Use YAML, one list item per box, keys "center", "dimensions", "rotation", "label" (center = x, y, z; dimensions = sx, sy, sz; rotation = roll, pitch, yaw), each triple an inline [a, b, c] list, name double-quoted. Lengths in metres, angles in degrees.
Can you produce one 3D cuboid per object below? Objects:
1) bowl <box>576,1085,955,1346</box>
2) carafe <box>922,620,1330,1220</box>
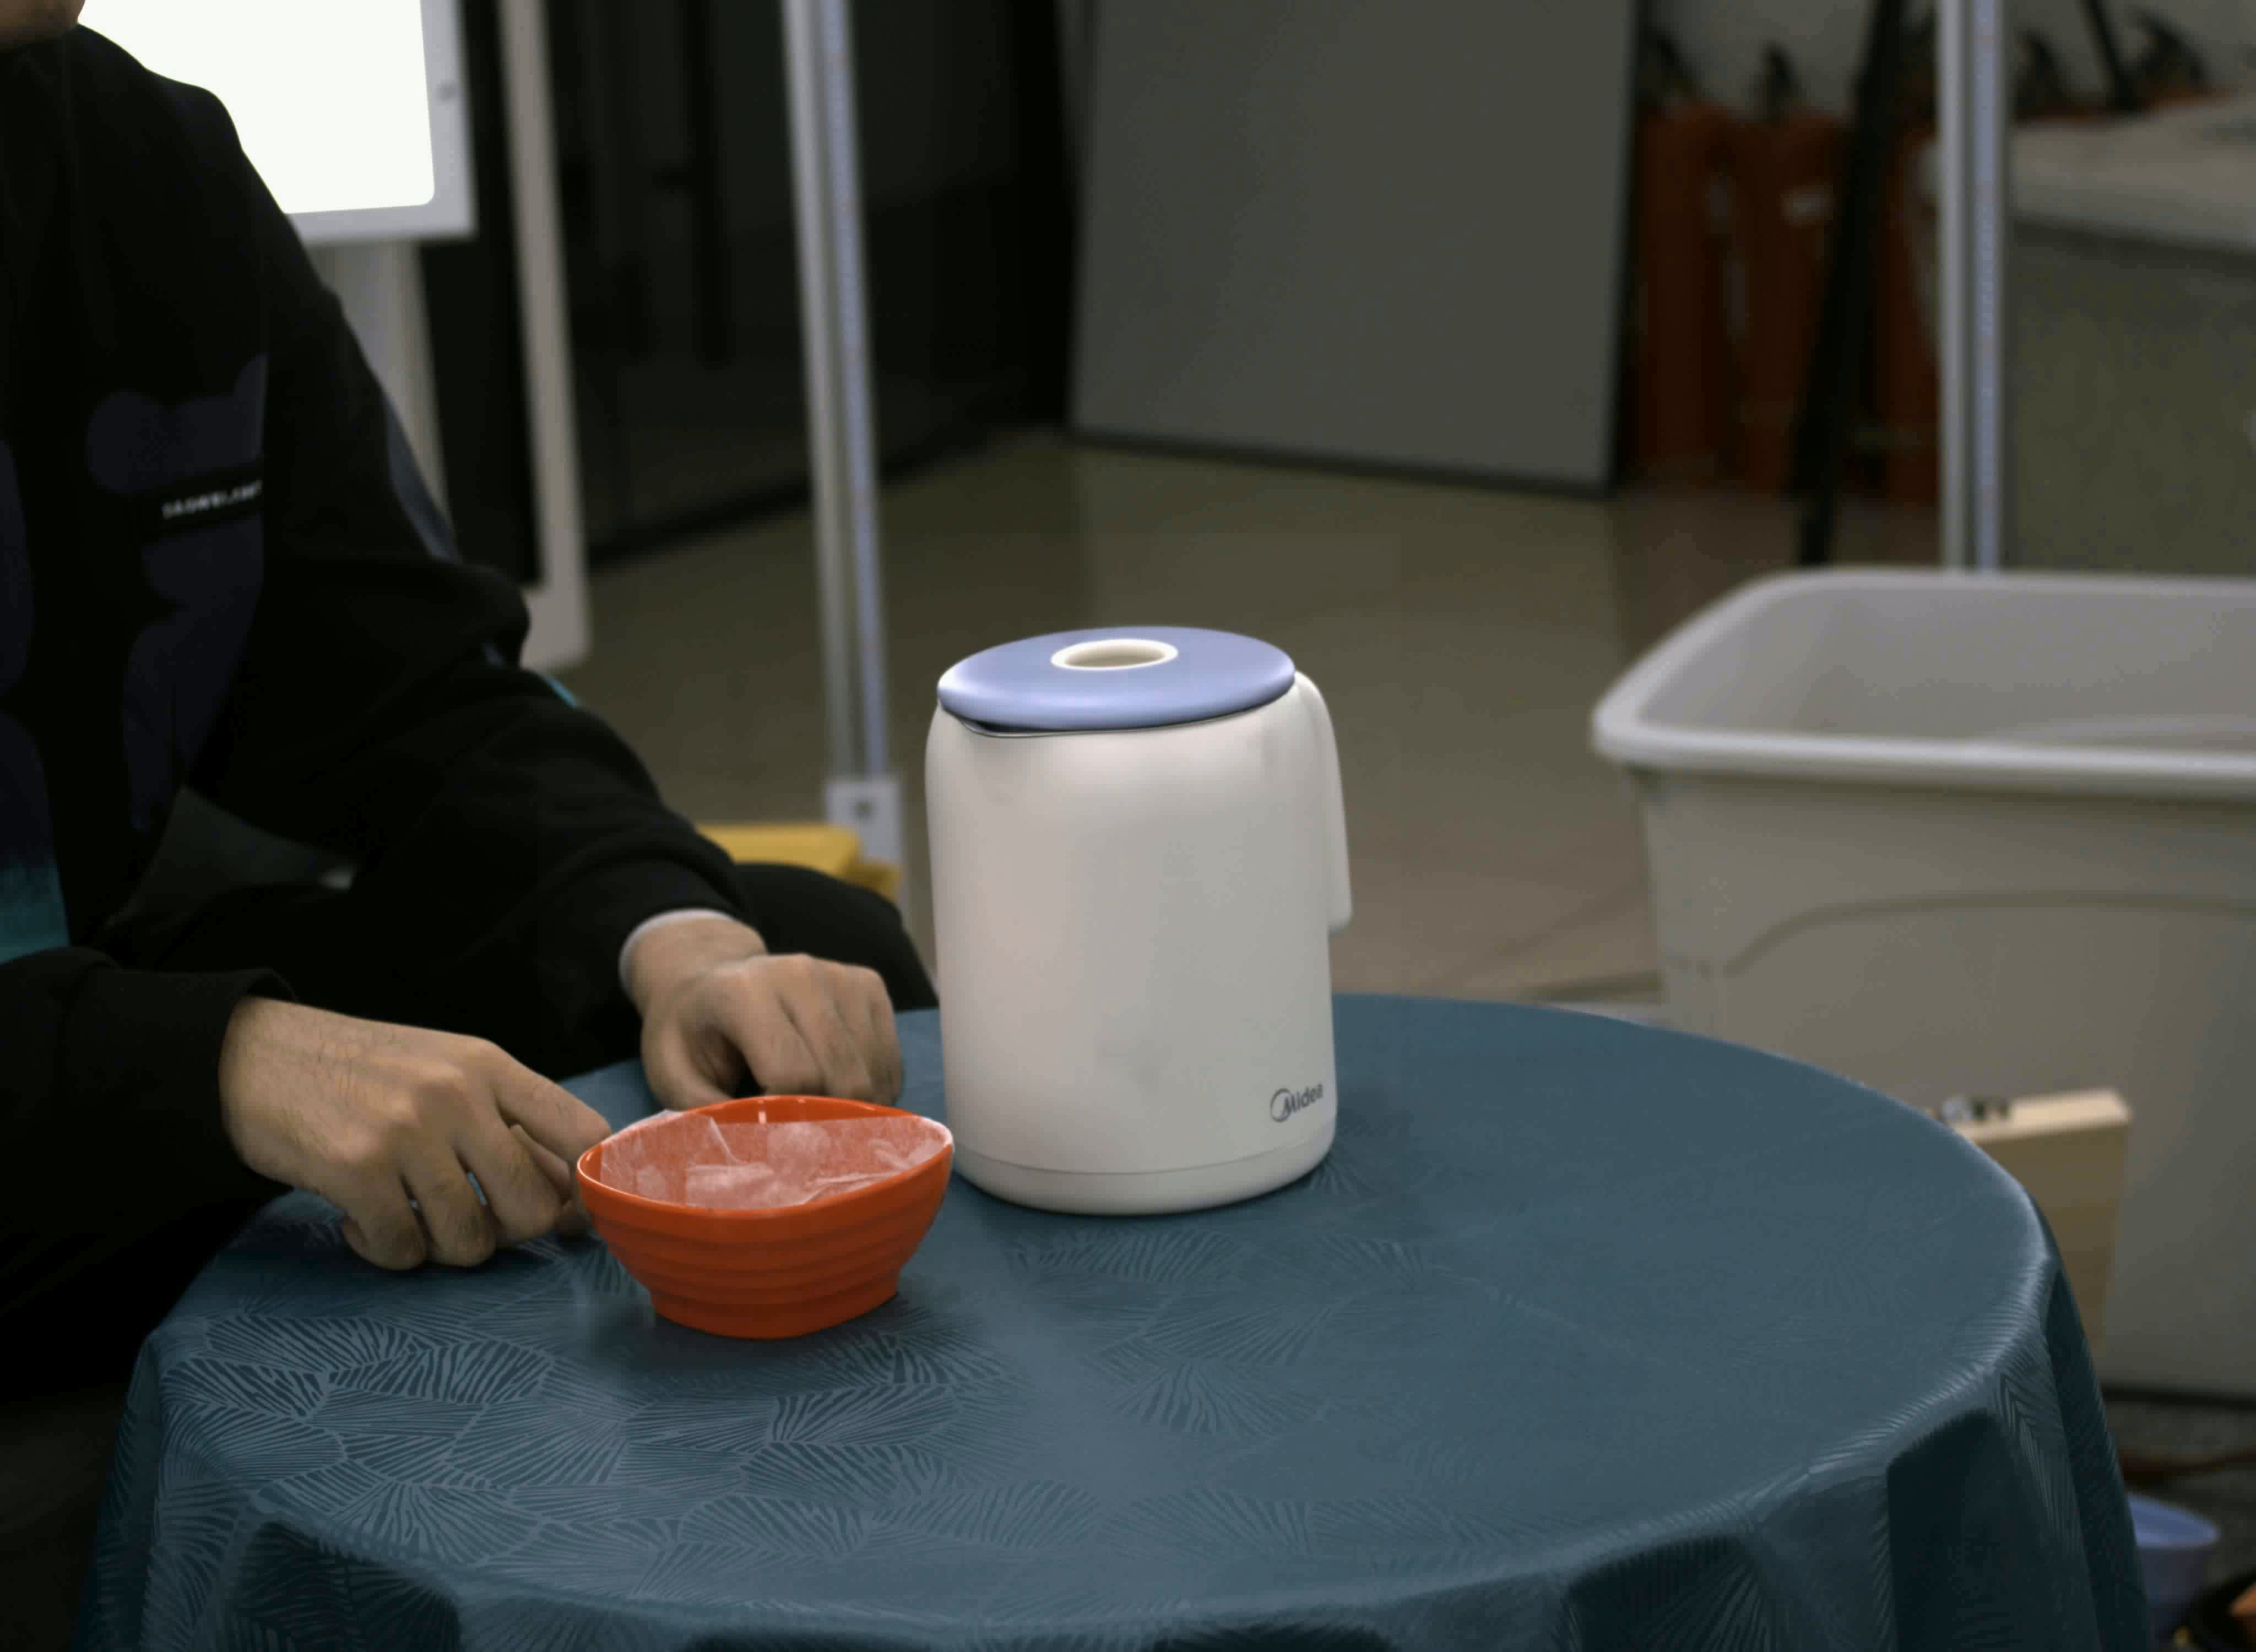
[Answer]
- center: [-0.111, 0.123, 1.681]
  dimensions: [0.117, 0.052, 0.119]
  rotation: [-4, 17, 0]
  label: "bowl"
- center: [0.013, 0.025, 1.800]
  dimensions: [0.133, 0.184, 0.187]
  rotation: [7, 15, 35]
  label: "carafe"
